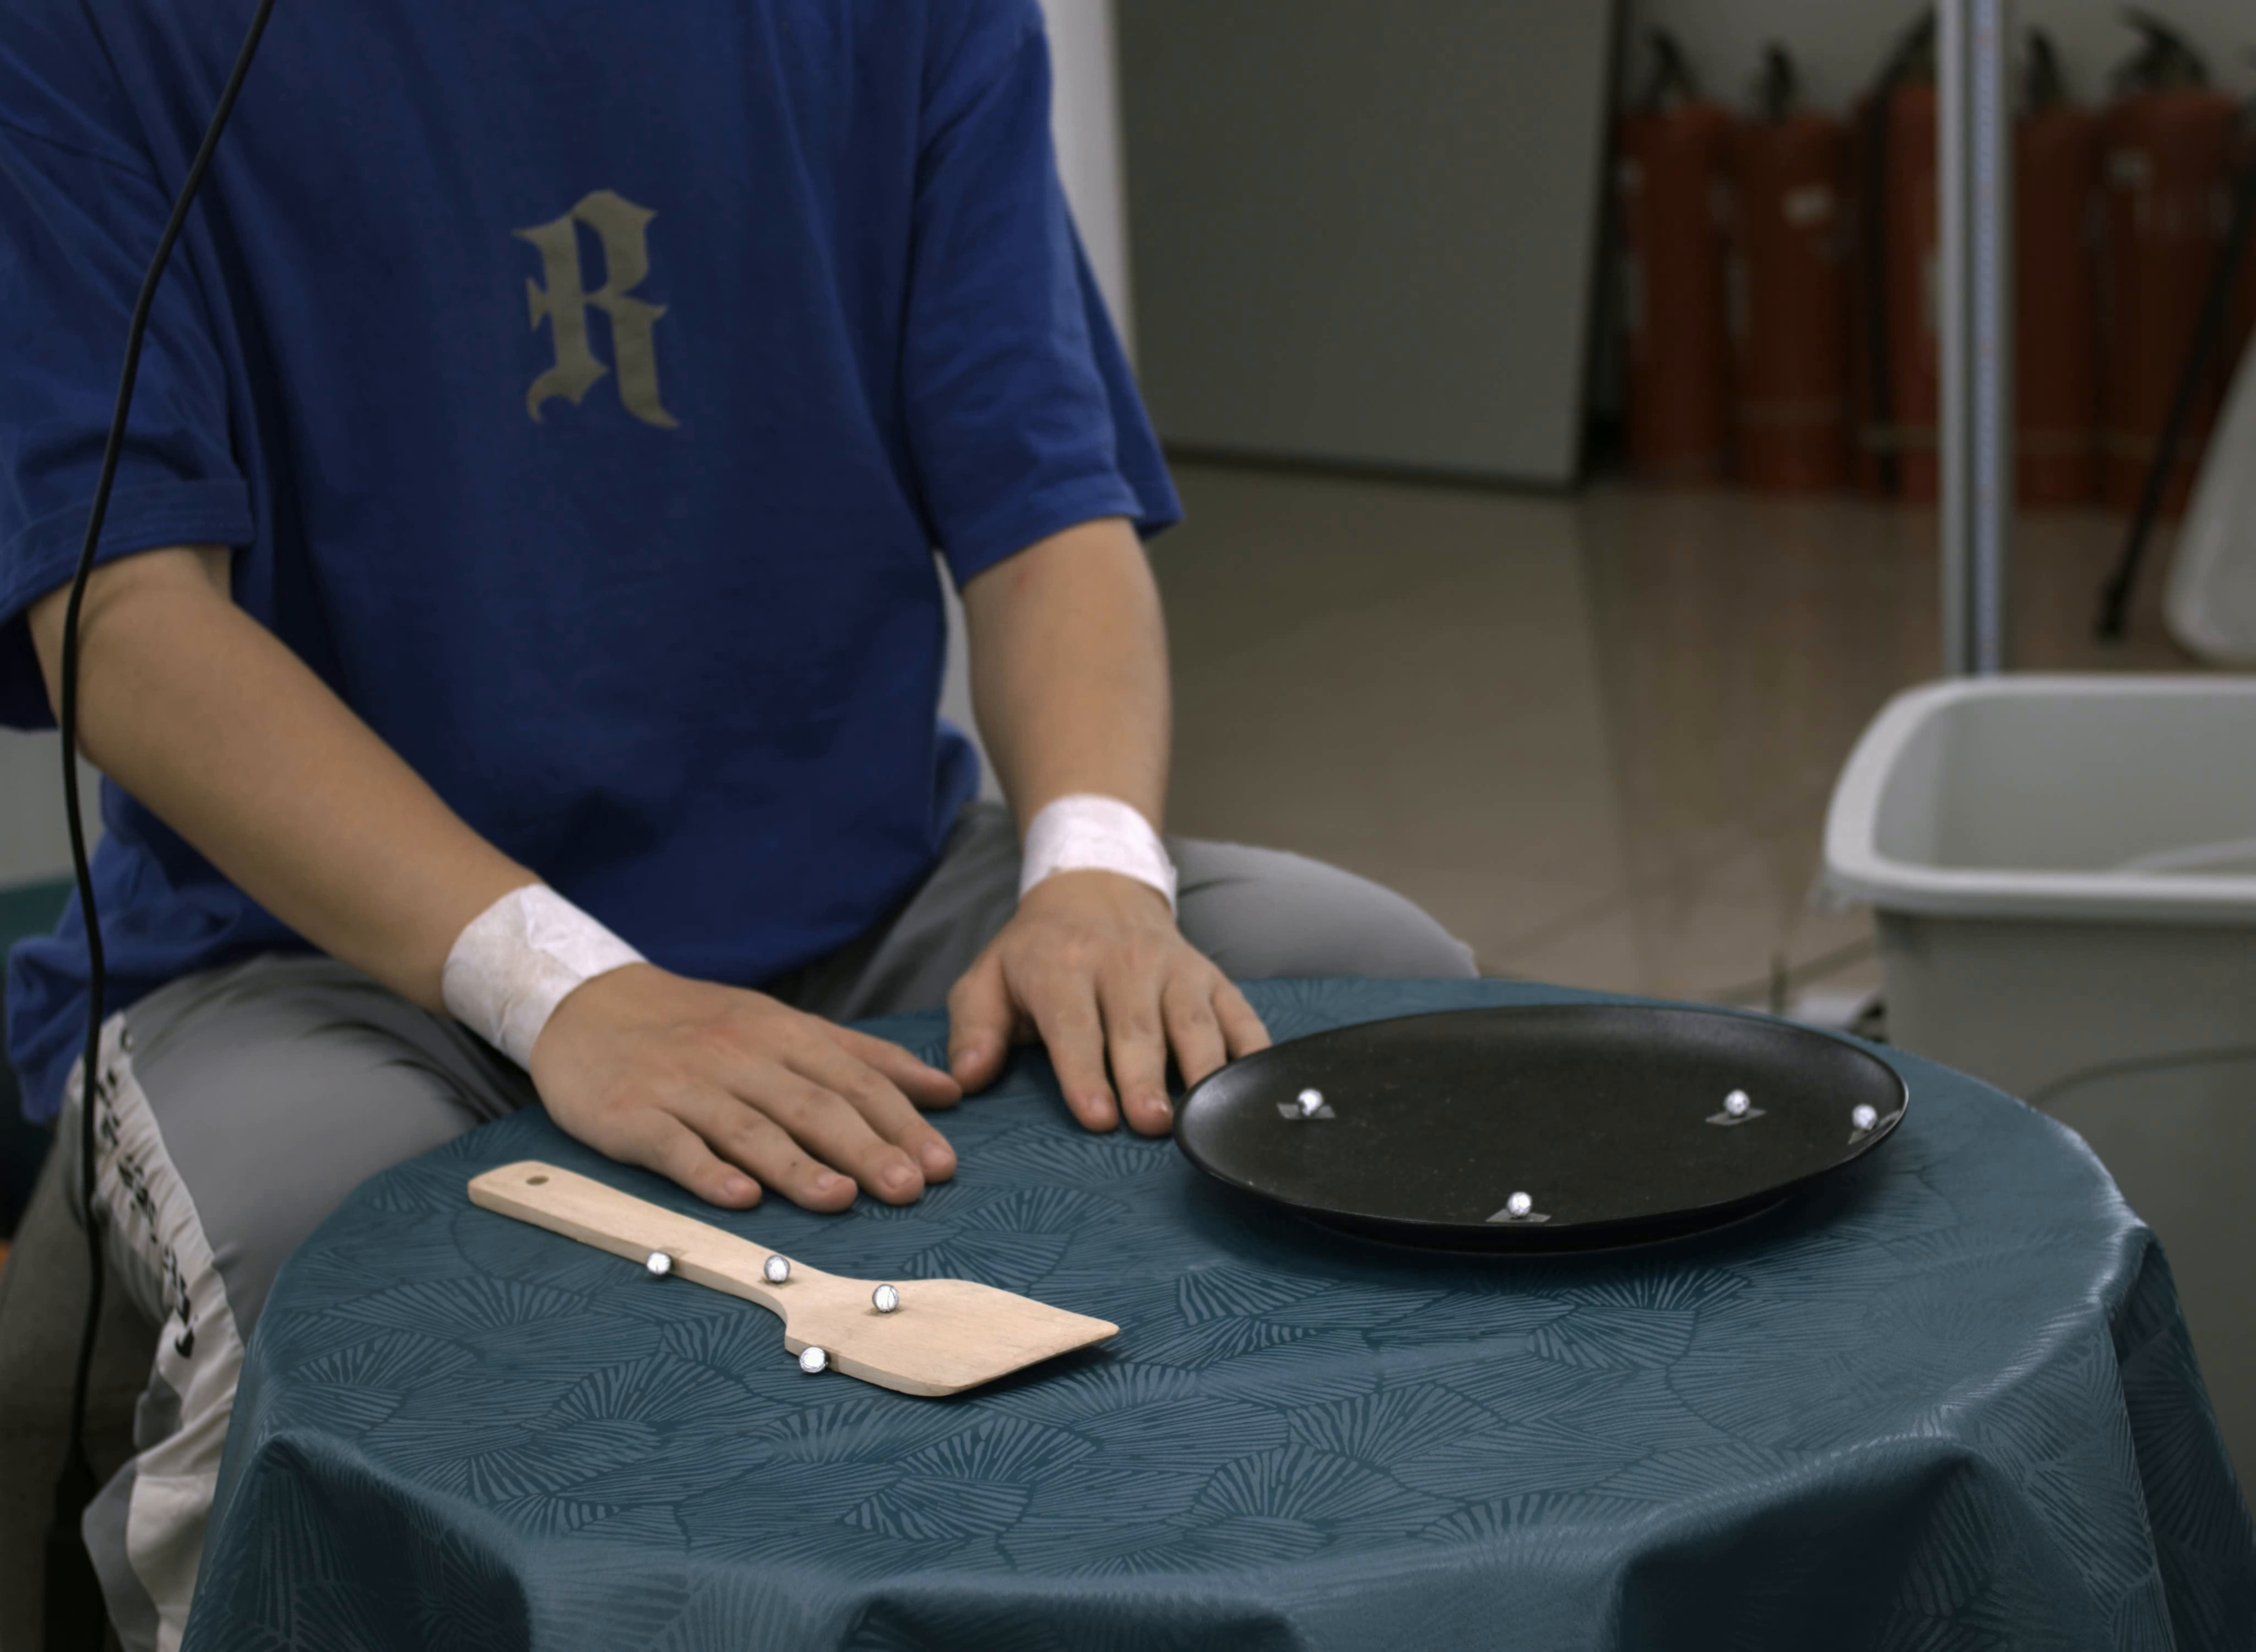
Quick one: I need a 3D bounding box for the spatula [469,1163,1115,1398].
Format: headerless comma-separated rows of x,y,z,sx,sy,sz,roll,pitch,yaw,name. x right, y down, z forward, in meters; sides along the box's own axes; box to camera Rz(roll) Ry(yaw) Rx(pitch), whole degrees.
-0.121,0.141,1.709,0.071,0.011,0.296,-16,18,-37,spatula

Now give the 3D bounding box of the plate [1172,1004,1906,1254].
0.134,0.101,1.764,0.241,0.024,0.245,-4,14,0,plate
